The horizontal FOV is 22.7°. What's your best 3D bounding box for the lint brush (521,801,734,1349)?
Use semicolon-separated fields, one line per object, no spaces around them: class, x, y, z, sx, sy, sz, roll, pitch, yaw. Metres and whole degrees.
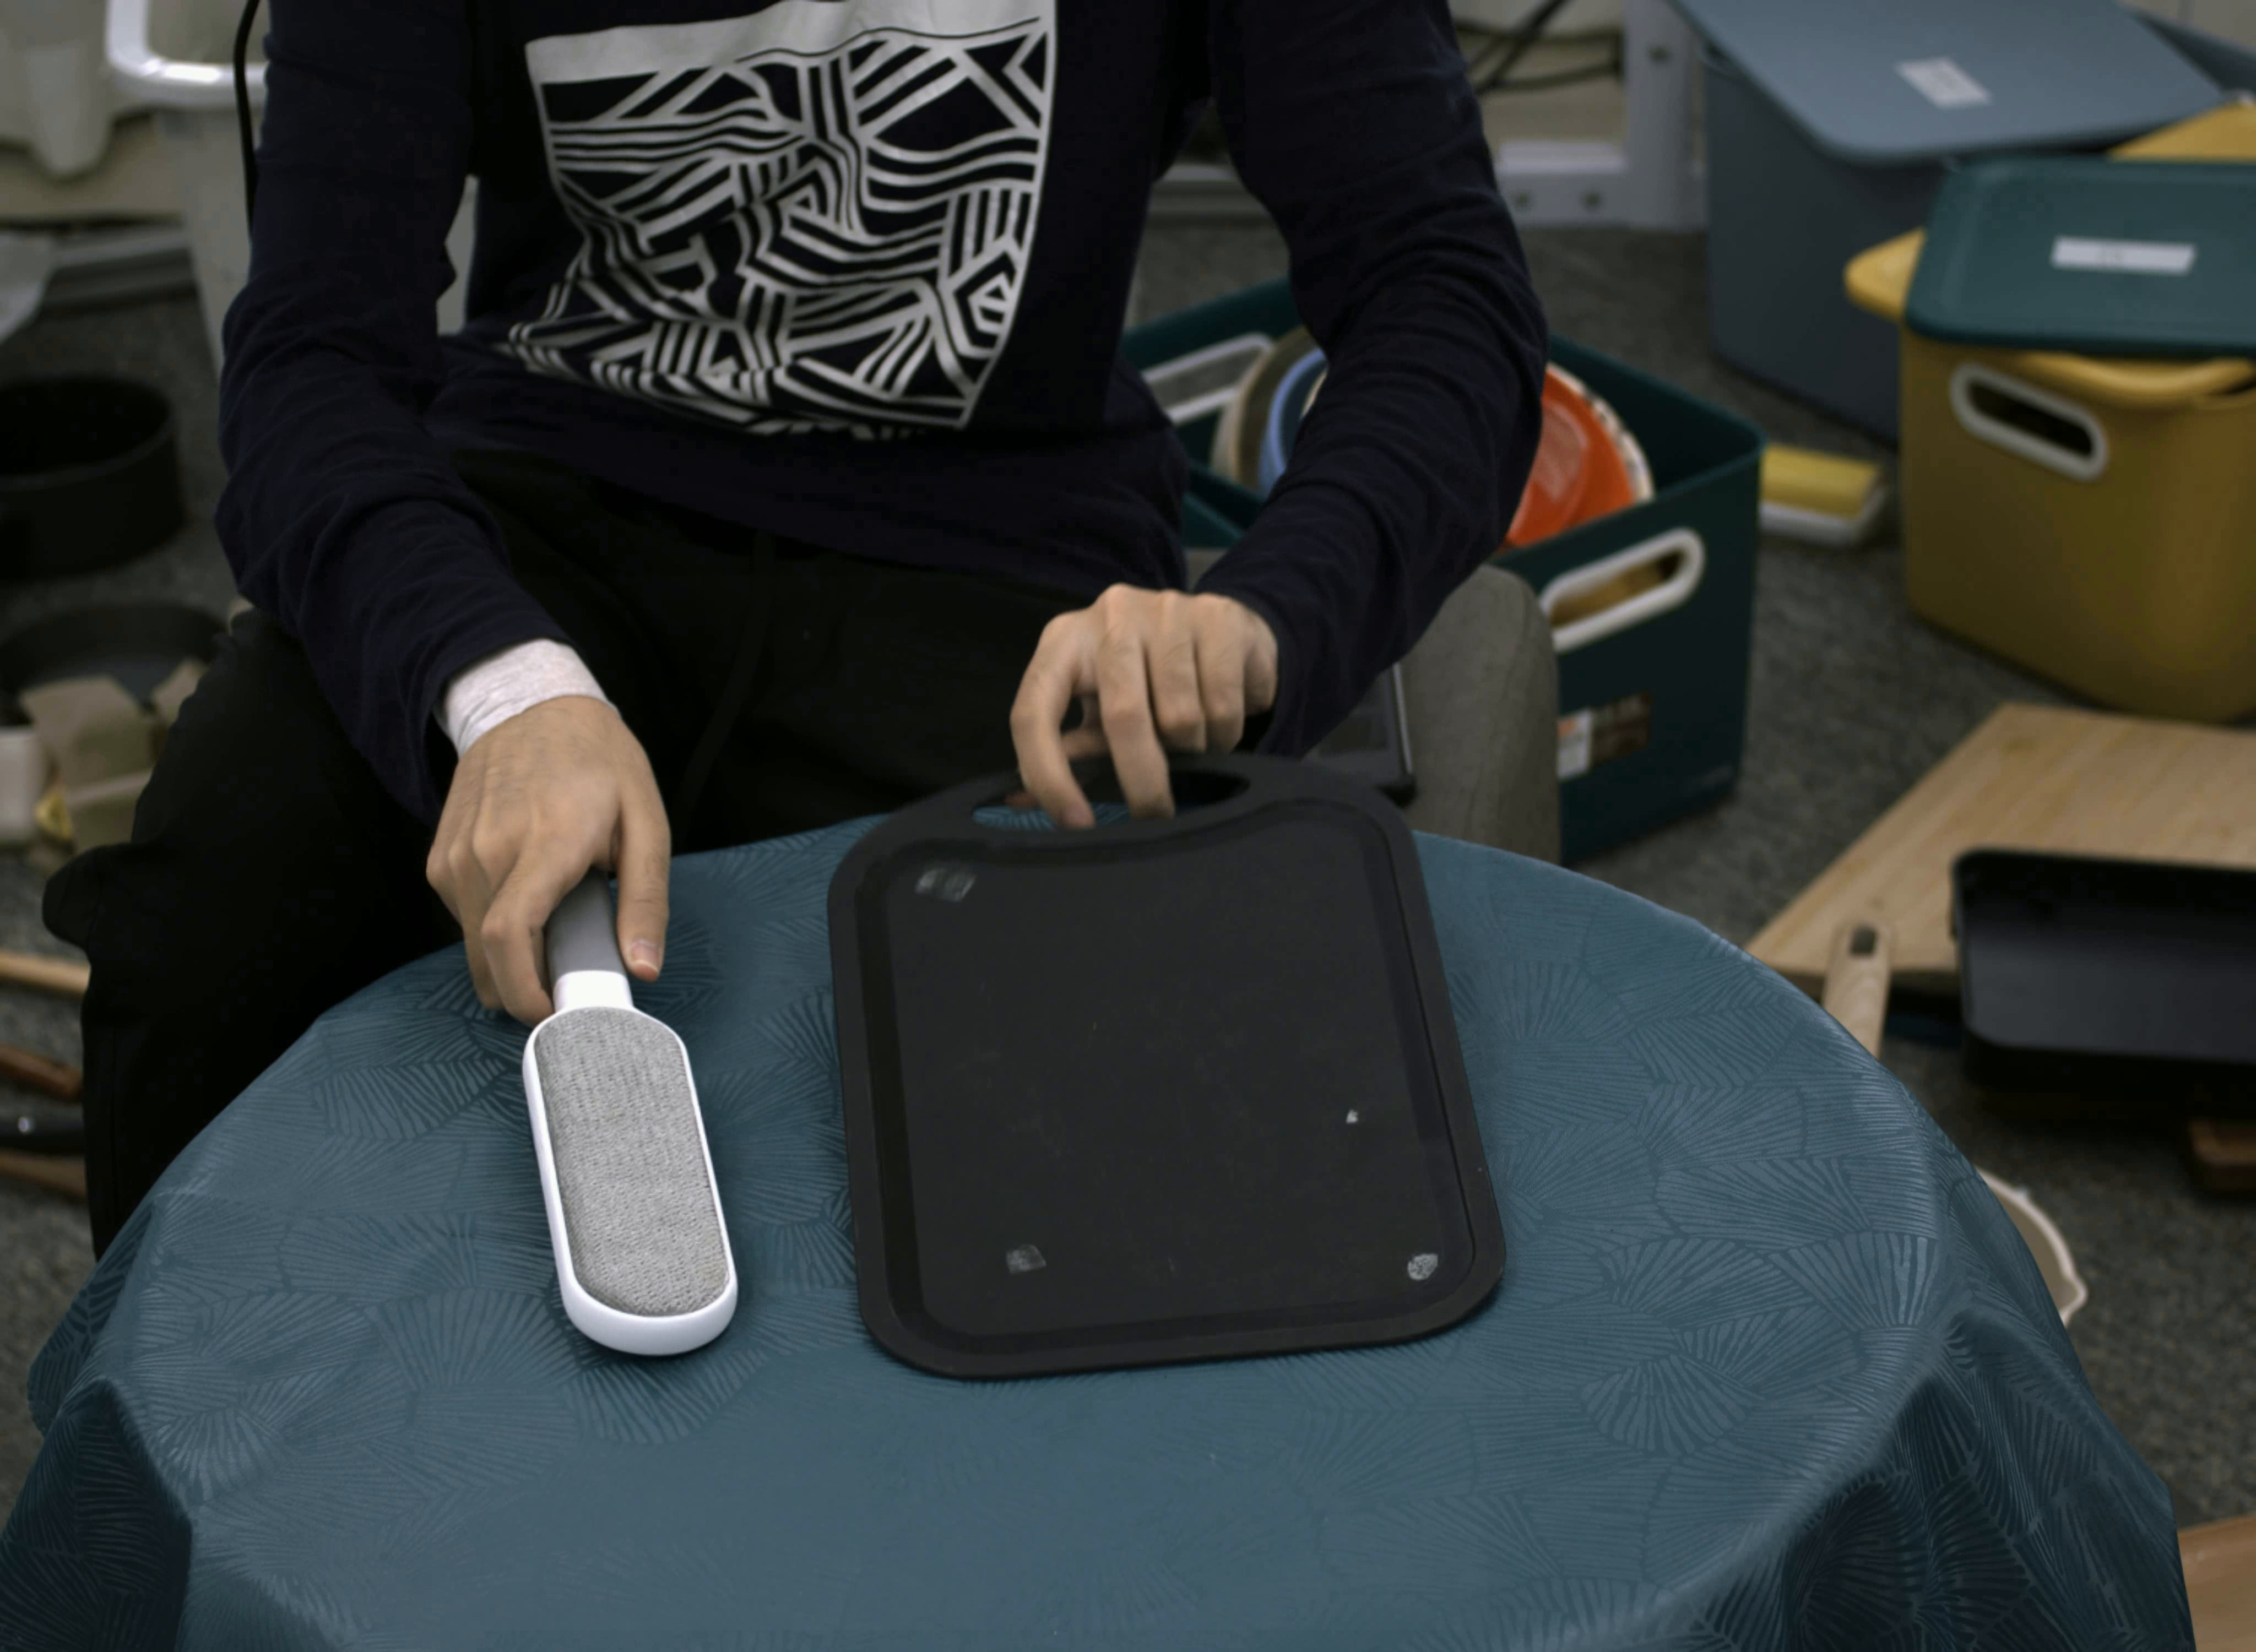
lint brush;-0.176;0.079;1.901;0.060;0.020;0.313;-3;33;-10

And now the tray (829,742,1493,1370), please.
tray;0.005;0.068;1.901;0.210;0.009;0.331;-4;37;-2
